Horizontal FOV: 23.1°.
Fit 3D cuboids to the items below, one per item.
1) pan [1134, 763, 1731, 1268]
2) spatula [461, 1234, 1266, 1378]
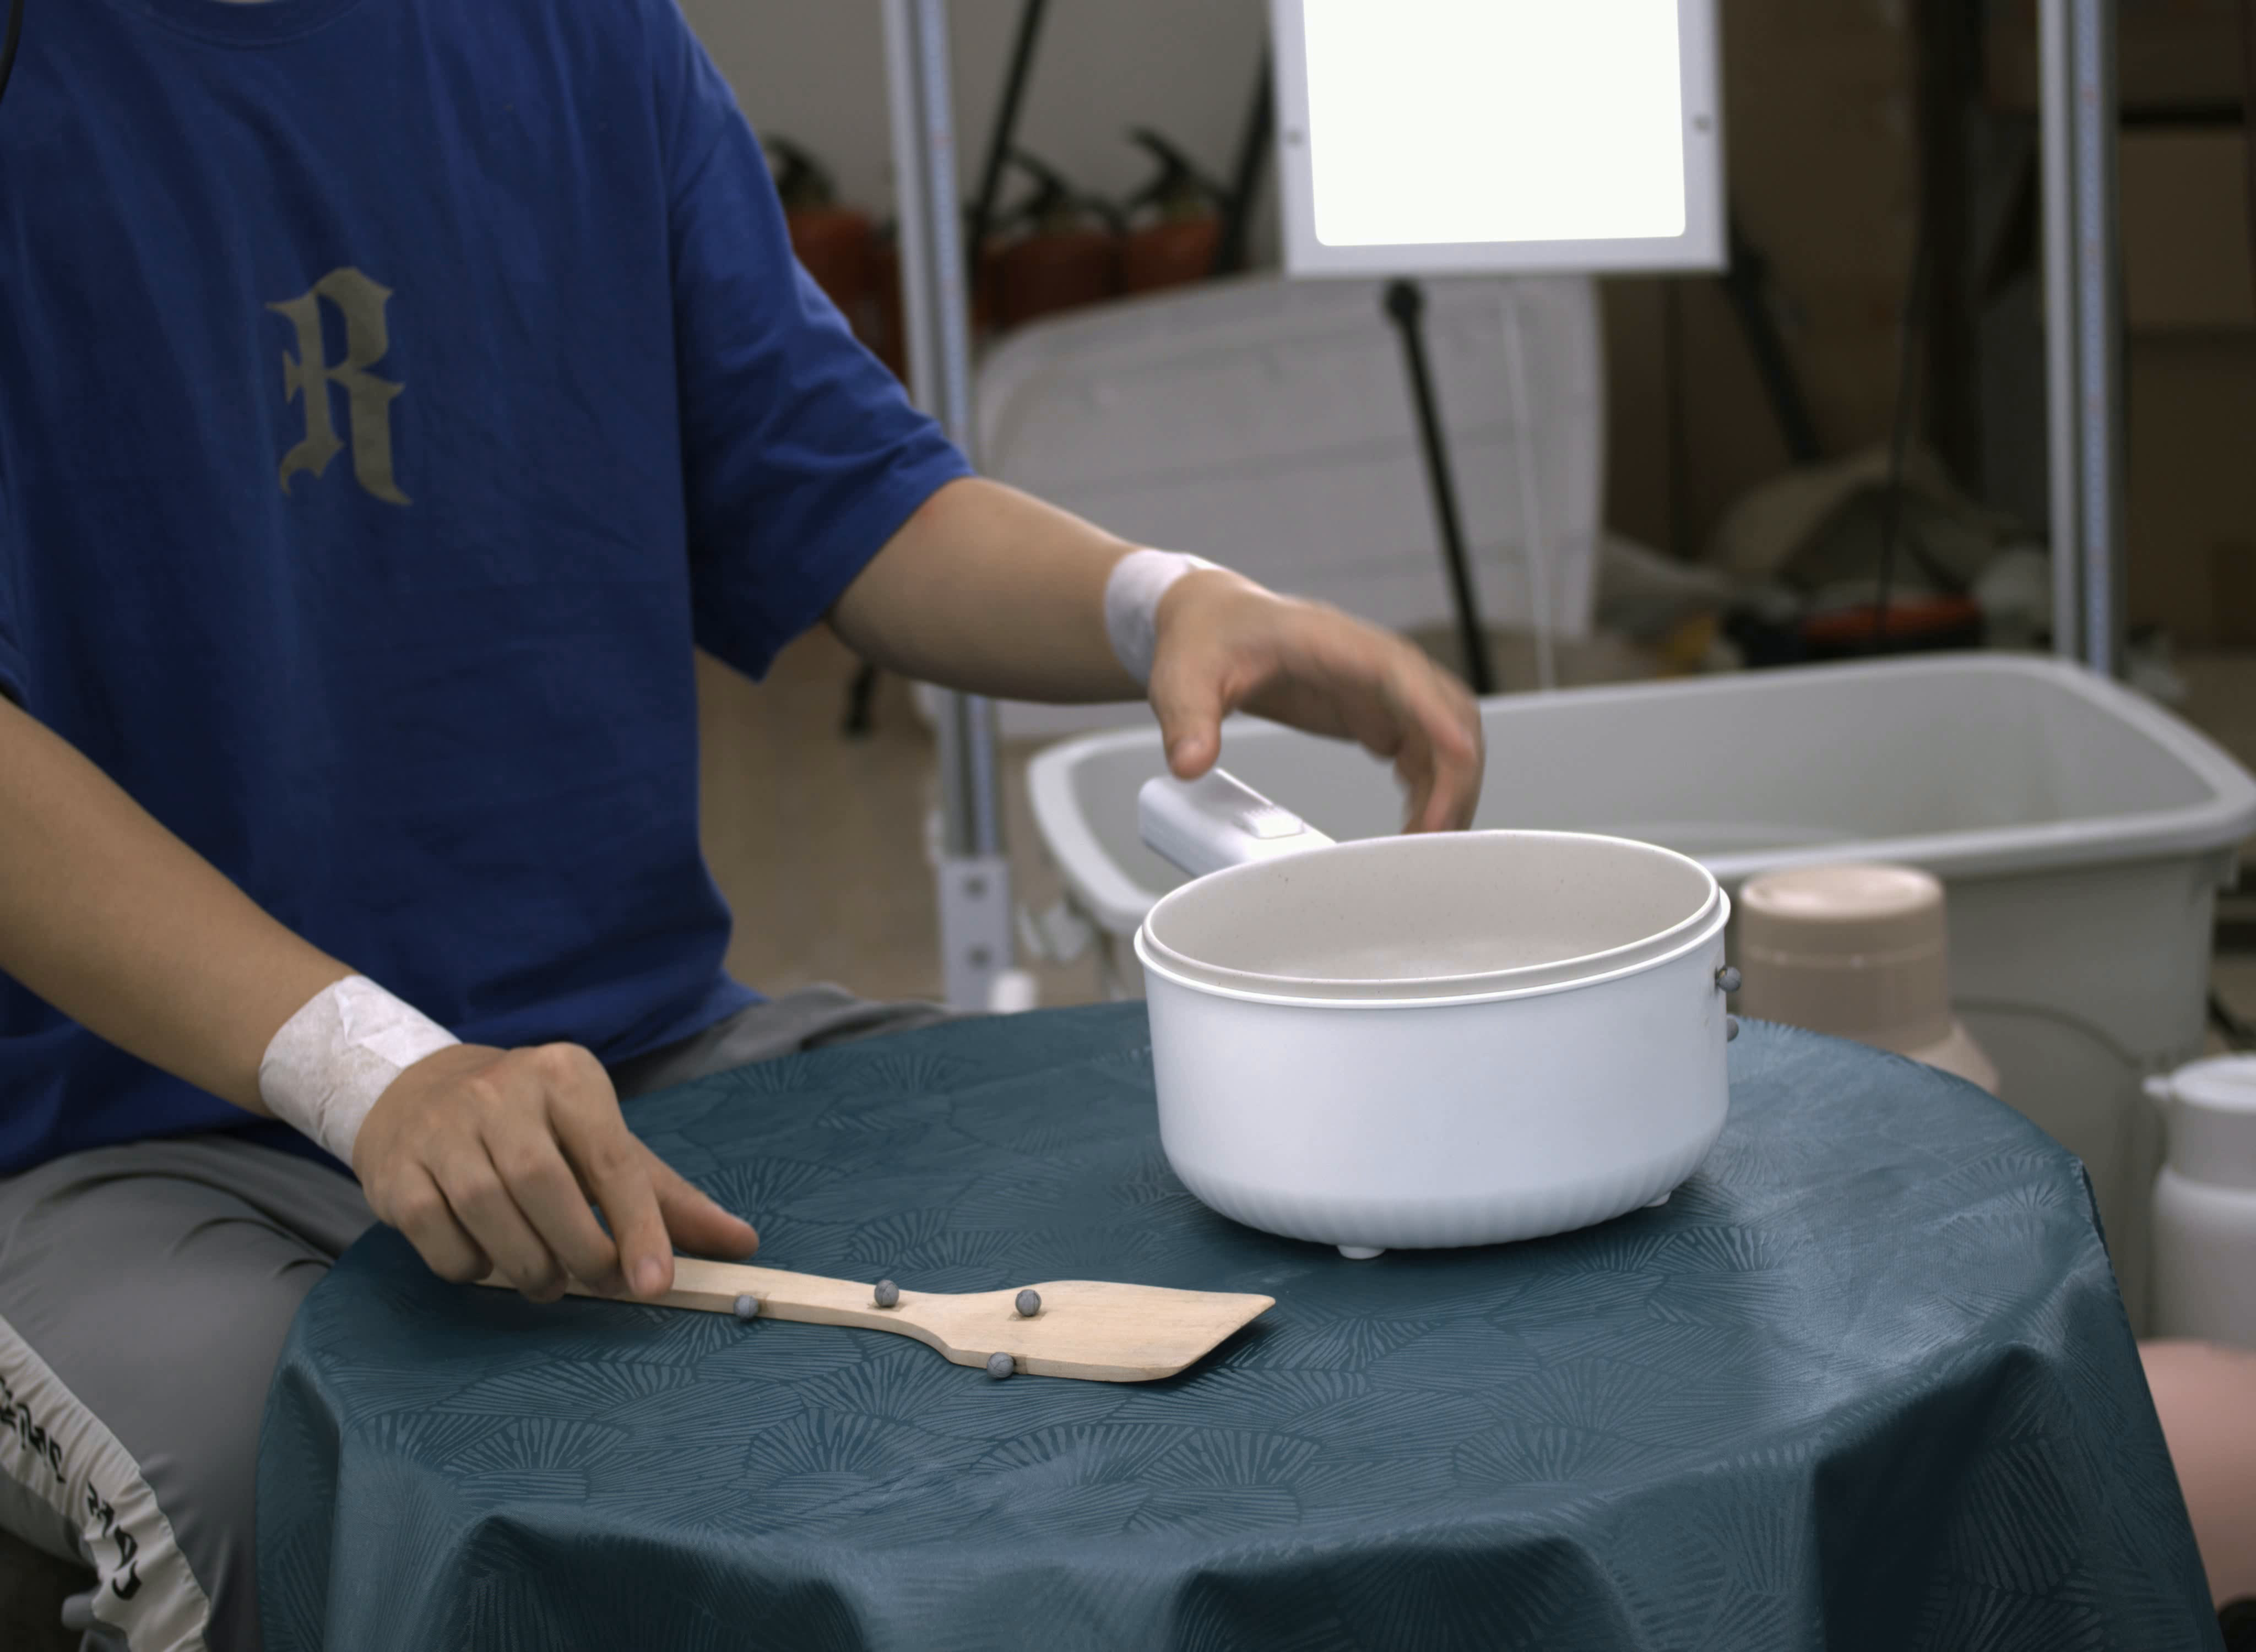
[{"bbox_3d":[0.082,0.060,1.933,0.198,0.102,0.359,-11,15,-16],"label":"pan"},{"bbox_3d":[-0.096,0.154,1.800,0.298,0.011,0.070,3,17,32],"label":"spatula"}]
